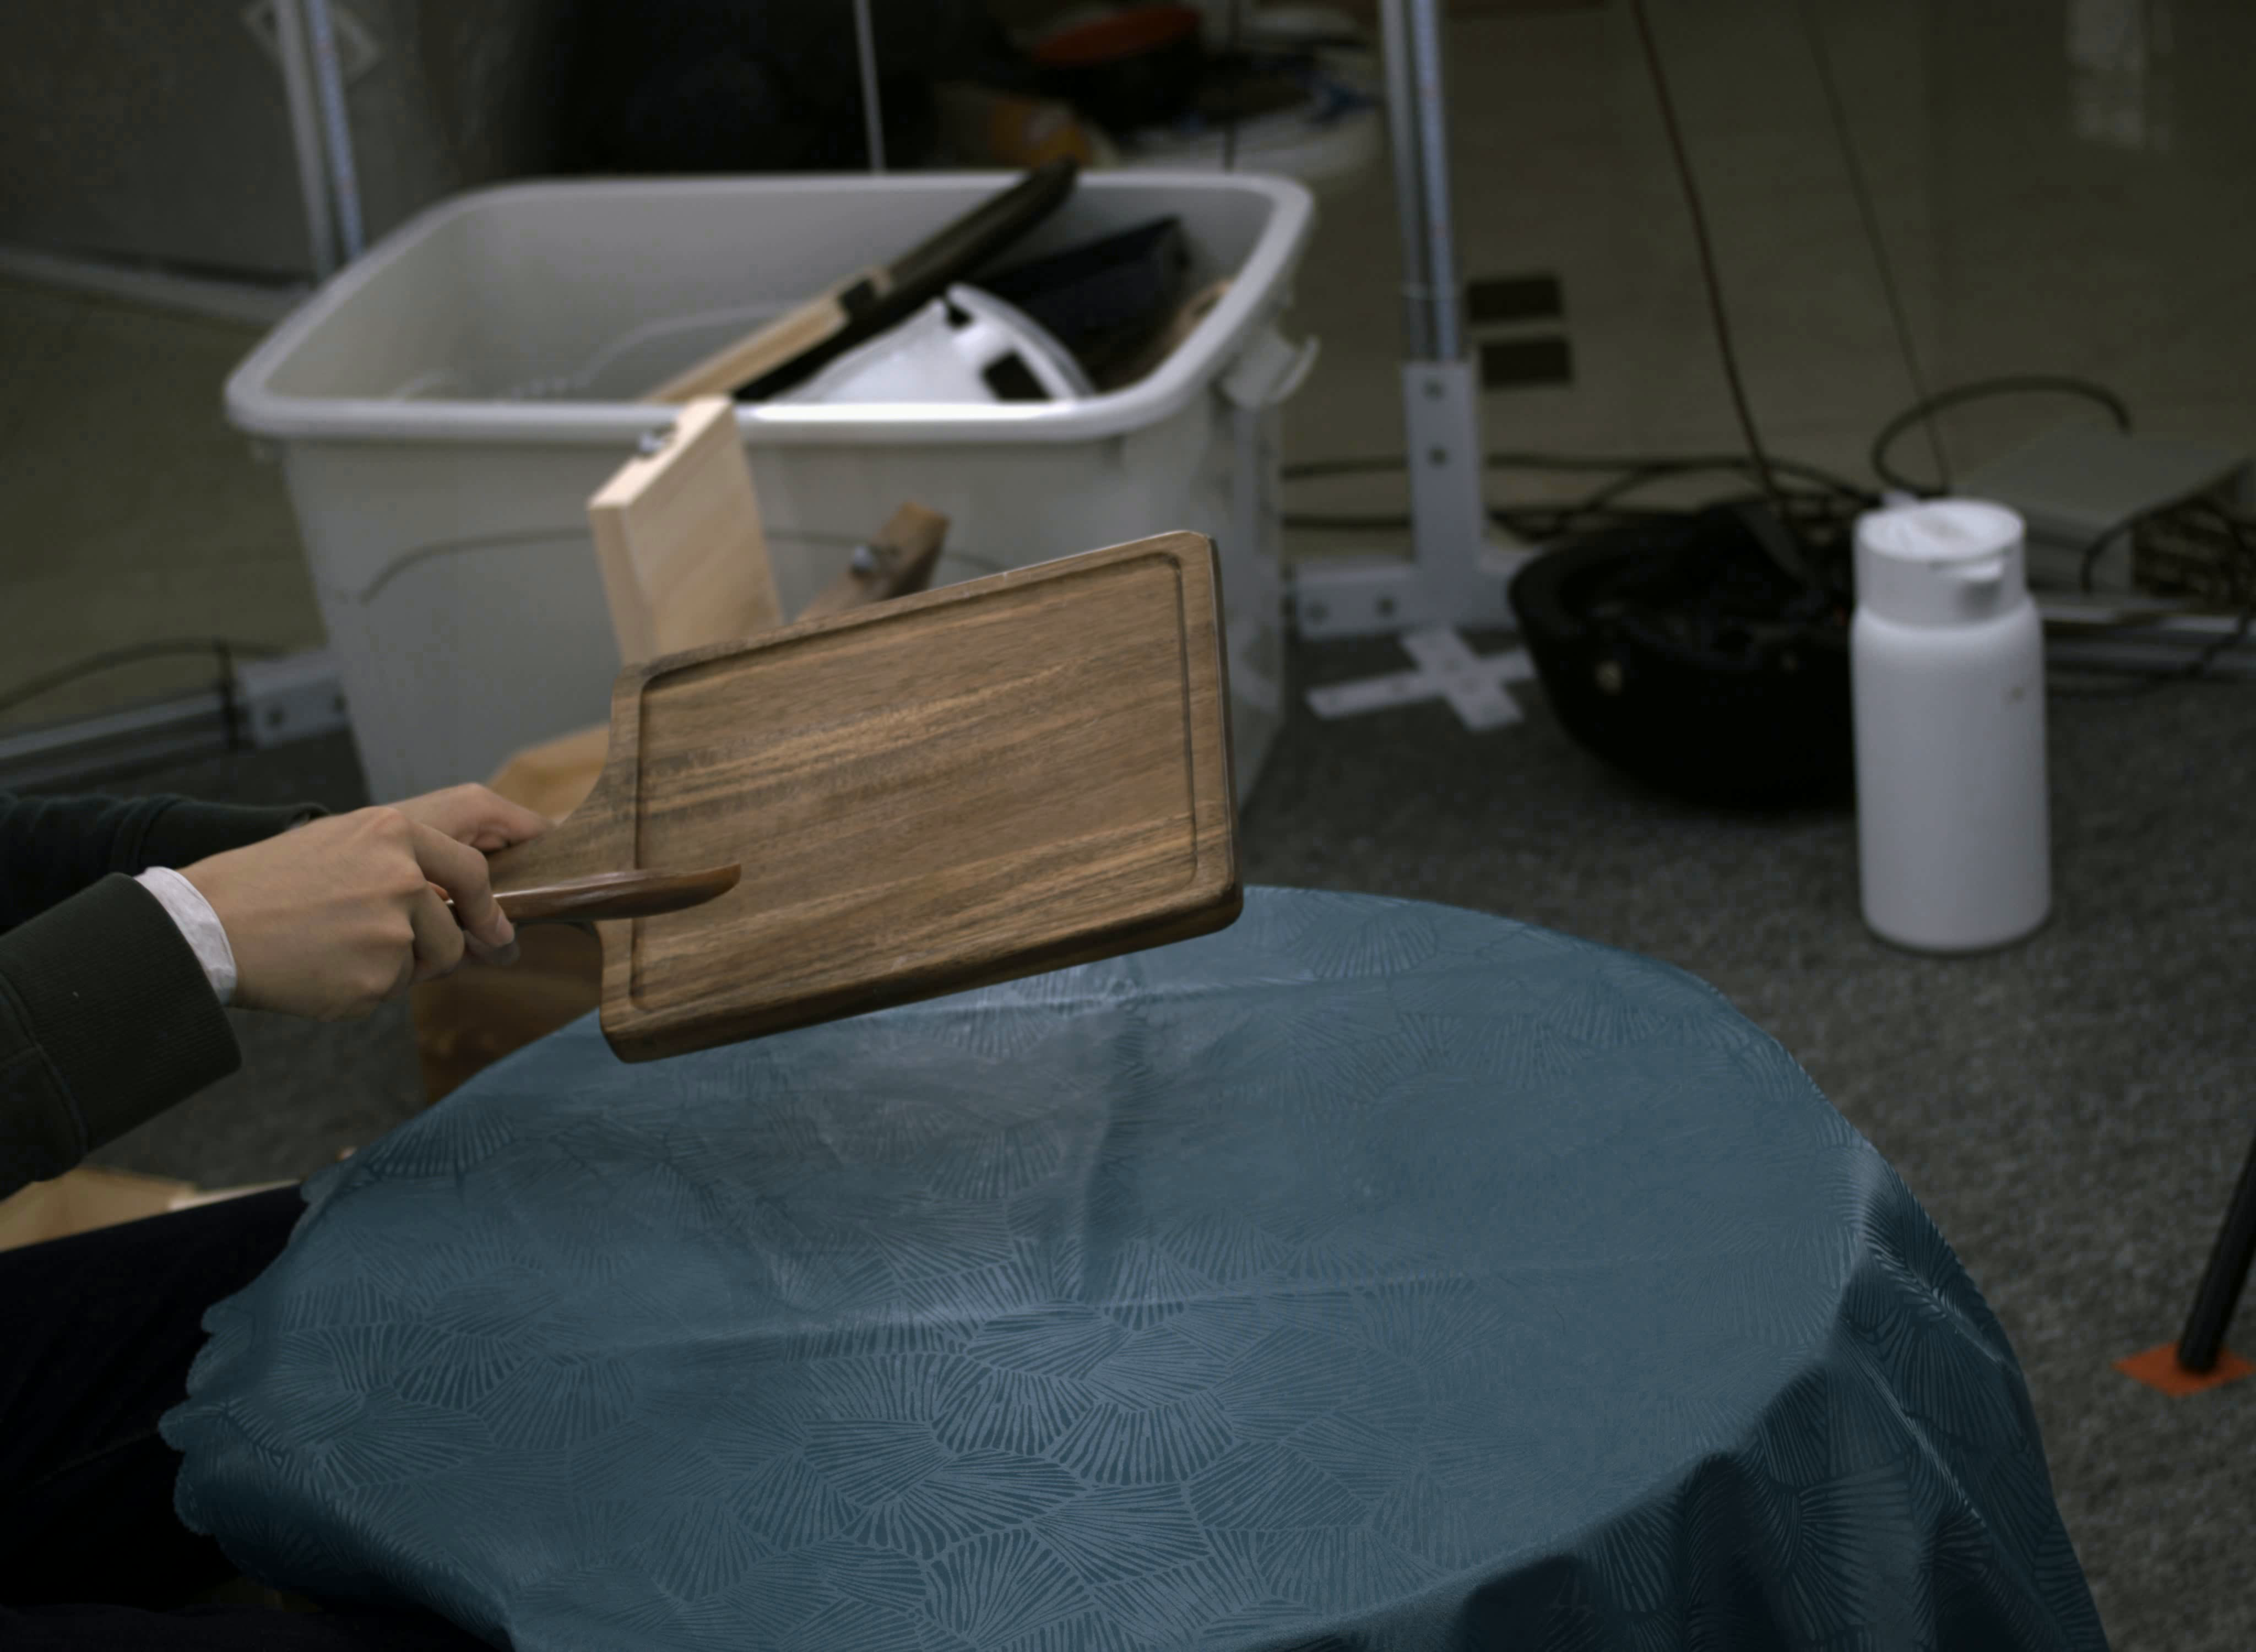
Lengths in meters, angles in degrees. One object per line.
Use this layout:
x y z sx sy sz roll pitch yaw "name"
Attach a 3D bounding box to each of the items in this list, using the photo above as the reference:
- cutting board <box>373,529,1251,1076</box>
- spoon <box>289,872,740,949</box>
-0.127 -0.001 2.188 0.352 0.023 0.197 -13 50 12 "cutting board"
-0.219 0.029 2.009 0.075 0.017 0.215 1 3 35 "spoon"
